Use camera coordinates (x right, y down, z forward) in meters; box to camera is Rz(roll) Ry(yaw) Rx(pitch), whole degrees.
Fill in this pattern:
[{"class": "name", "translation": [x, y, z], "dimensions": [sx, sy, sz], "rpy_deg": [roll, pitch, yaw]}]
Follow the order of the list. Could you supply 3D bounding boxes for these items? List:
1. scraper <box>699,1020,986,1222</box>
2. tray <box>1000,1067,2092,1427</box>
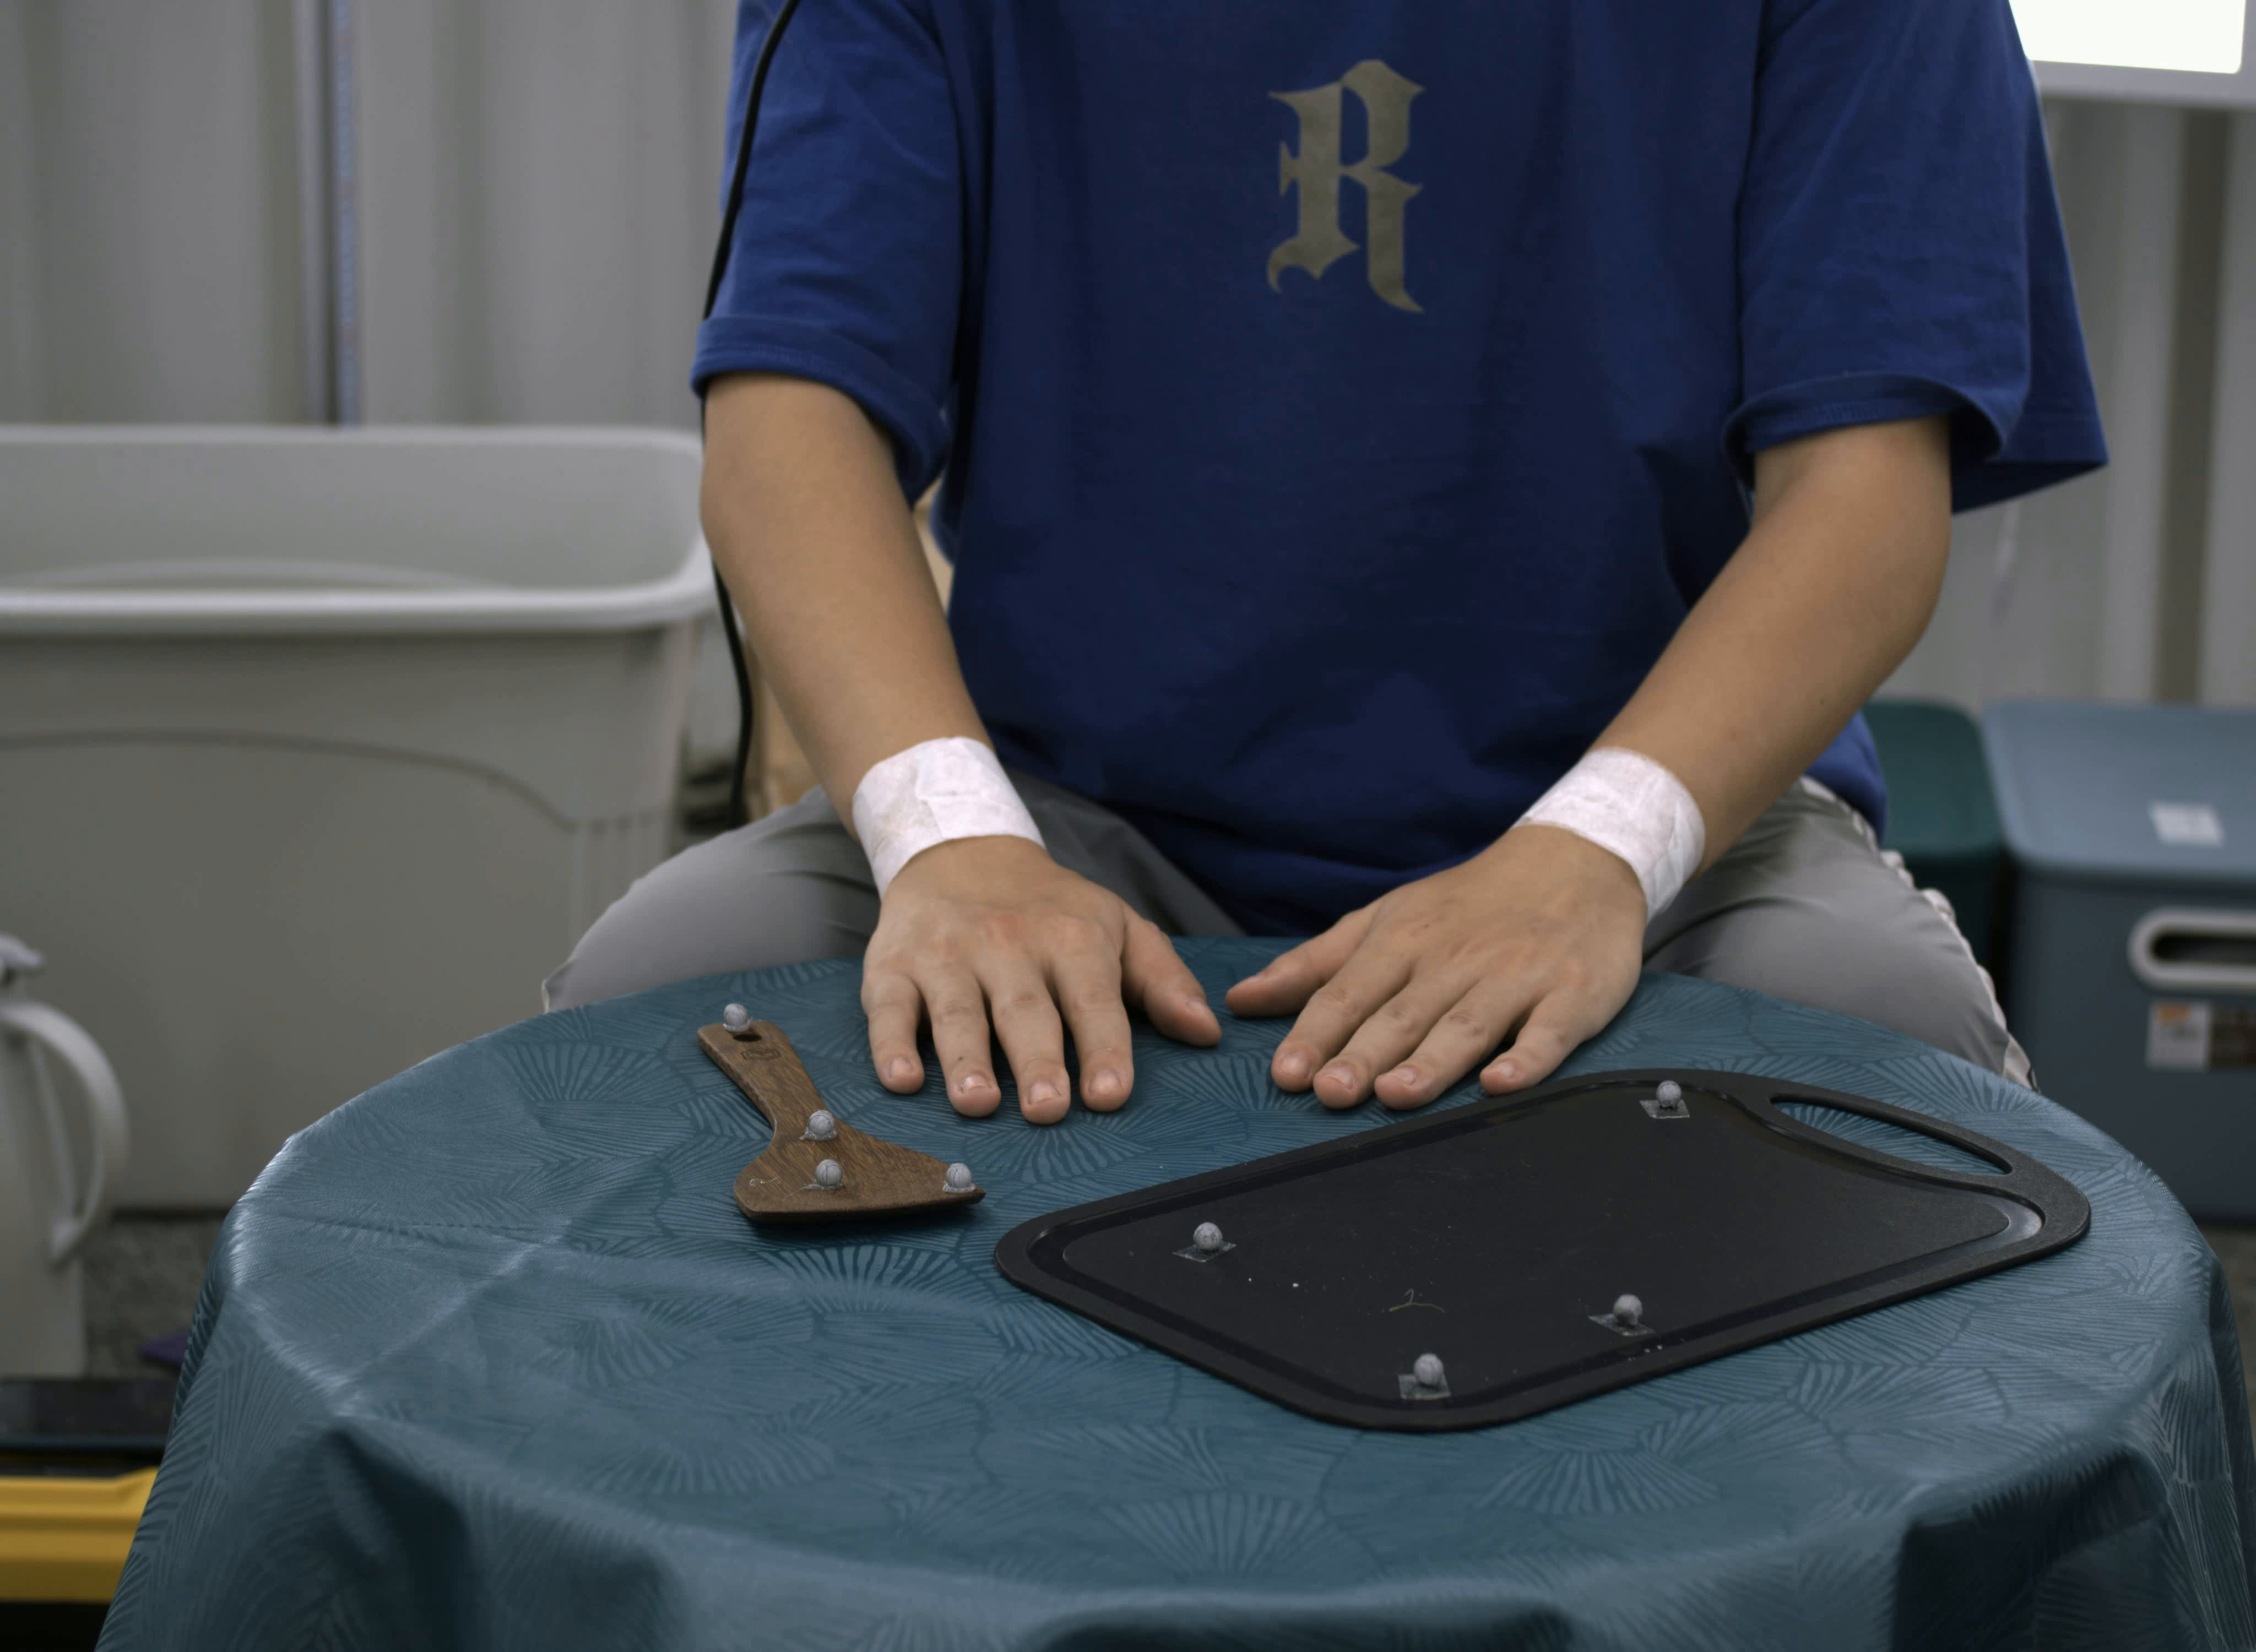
[{"class": "scraper", "translation": [-0.104, 0.093, 1.673], "dimensions": [0.076, 0.011, 0.209], "rpy_deg": [-3, 15, -15]}, {"class": "tray", "translation": [0.134, 0.119, 1.591], "dimensions": [0.327, 0.010, 0.208], "rpy_deg": [-11, 19, -37]}]
